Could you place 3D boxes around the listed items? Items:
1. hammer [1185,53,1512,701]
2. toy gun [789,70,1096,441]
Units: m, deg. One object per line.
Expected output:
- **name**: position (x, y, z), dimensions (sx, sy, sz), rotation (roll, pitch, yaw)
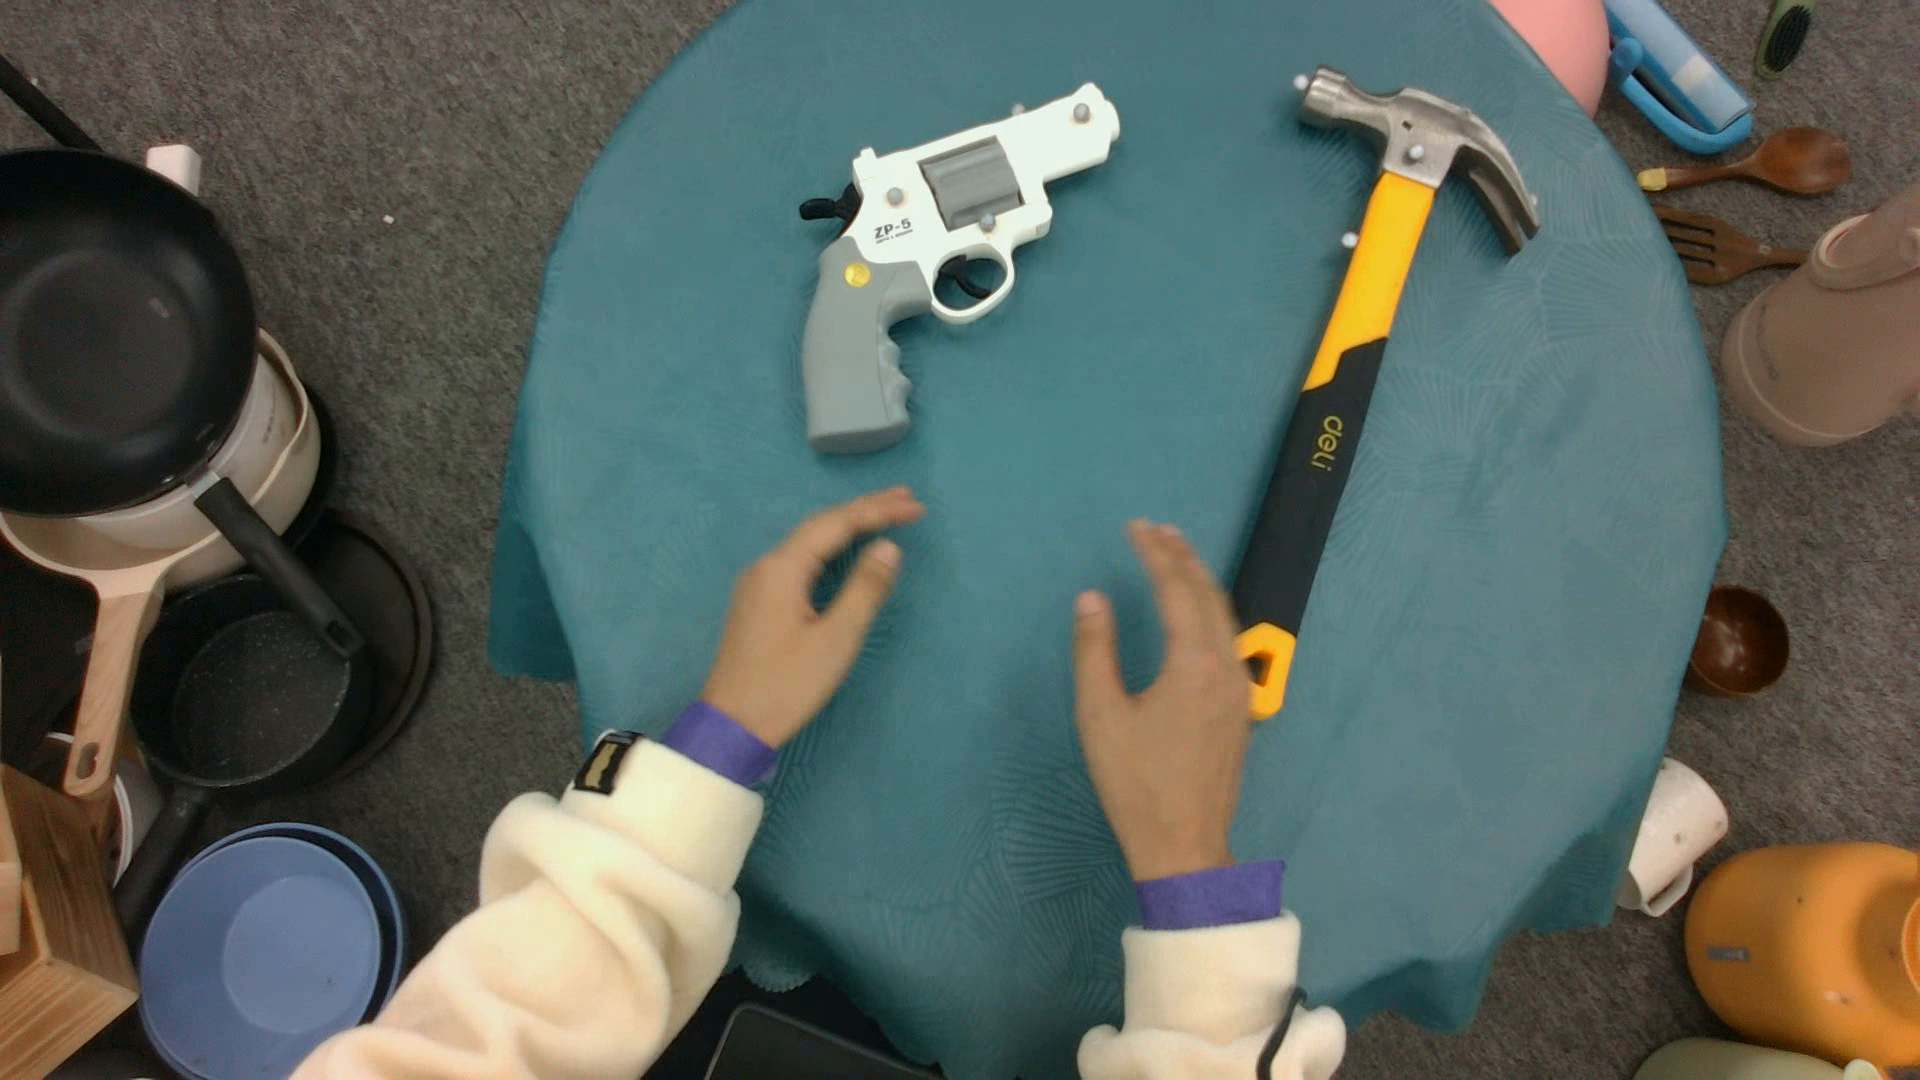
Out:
- **hammer**: position (0.178, -0.082, 0.678), dimensions (0.131, 0.032, 0.339), rotation (21, 73, 0)
- **toy gun**: position (-0.007, -0.145, 0.683), dimensions (0.209, 0.038, 0.142), rotation (-24, 76, -9)
